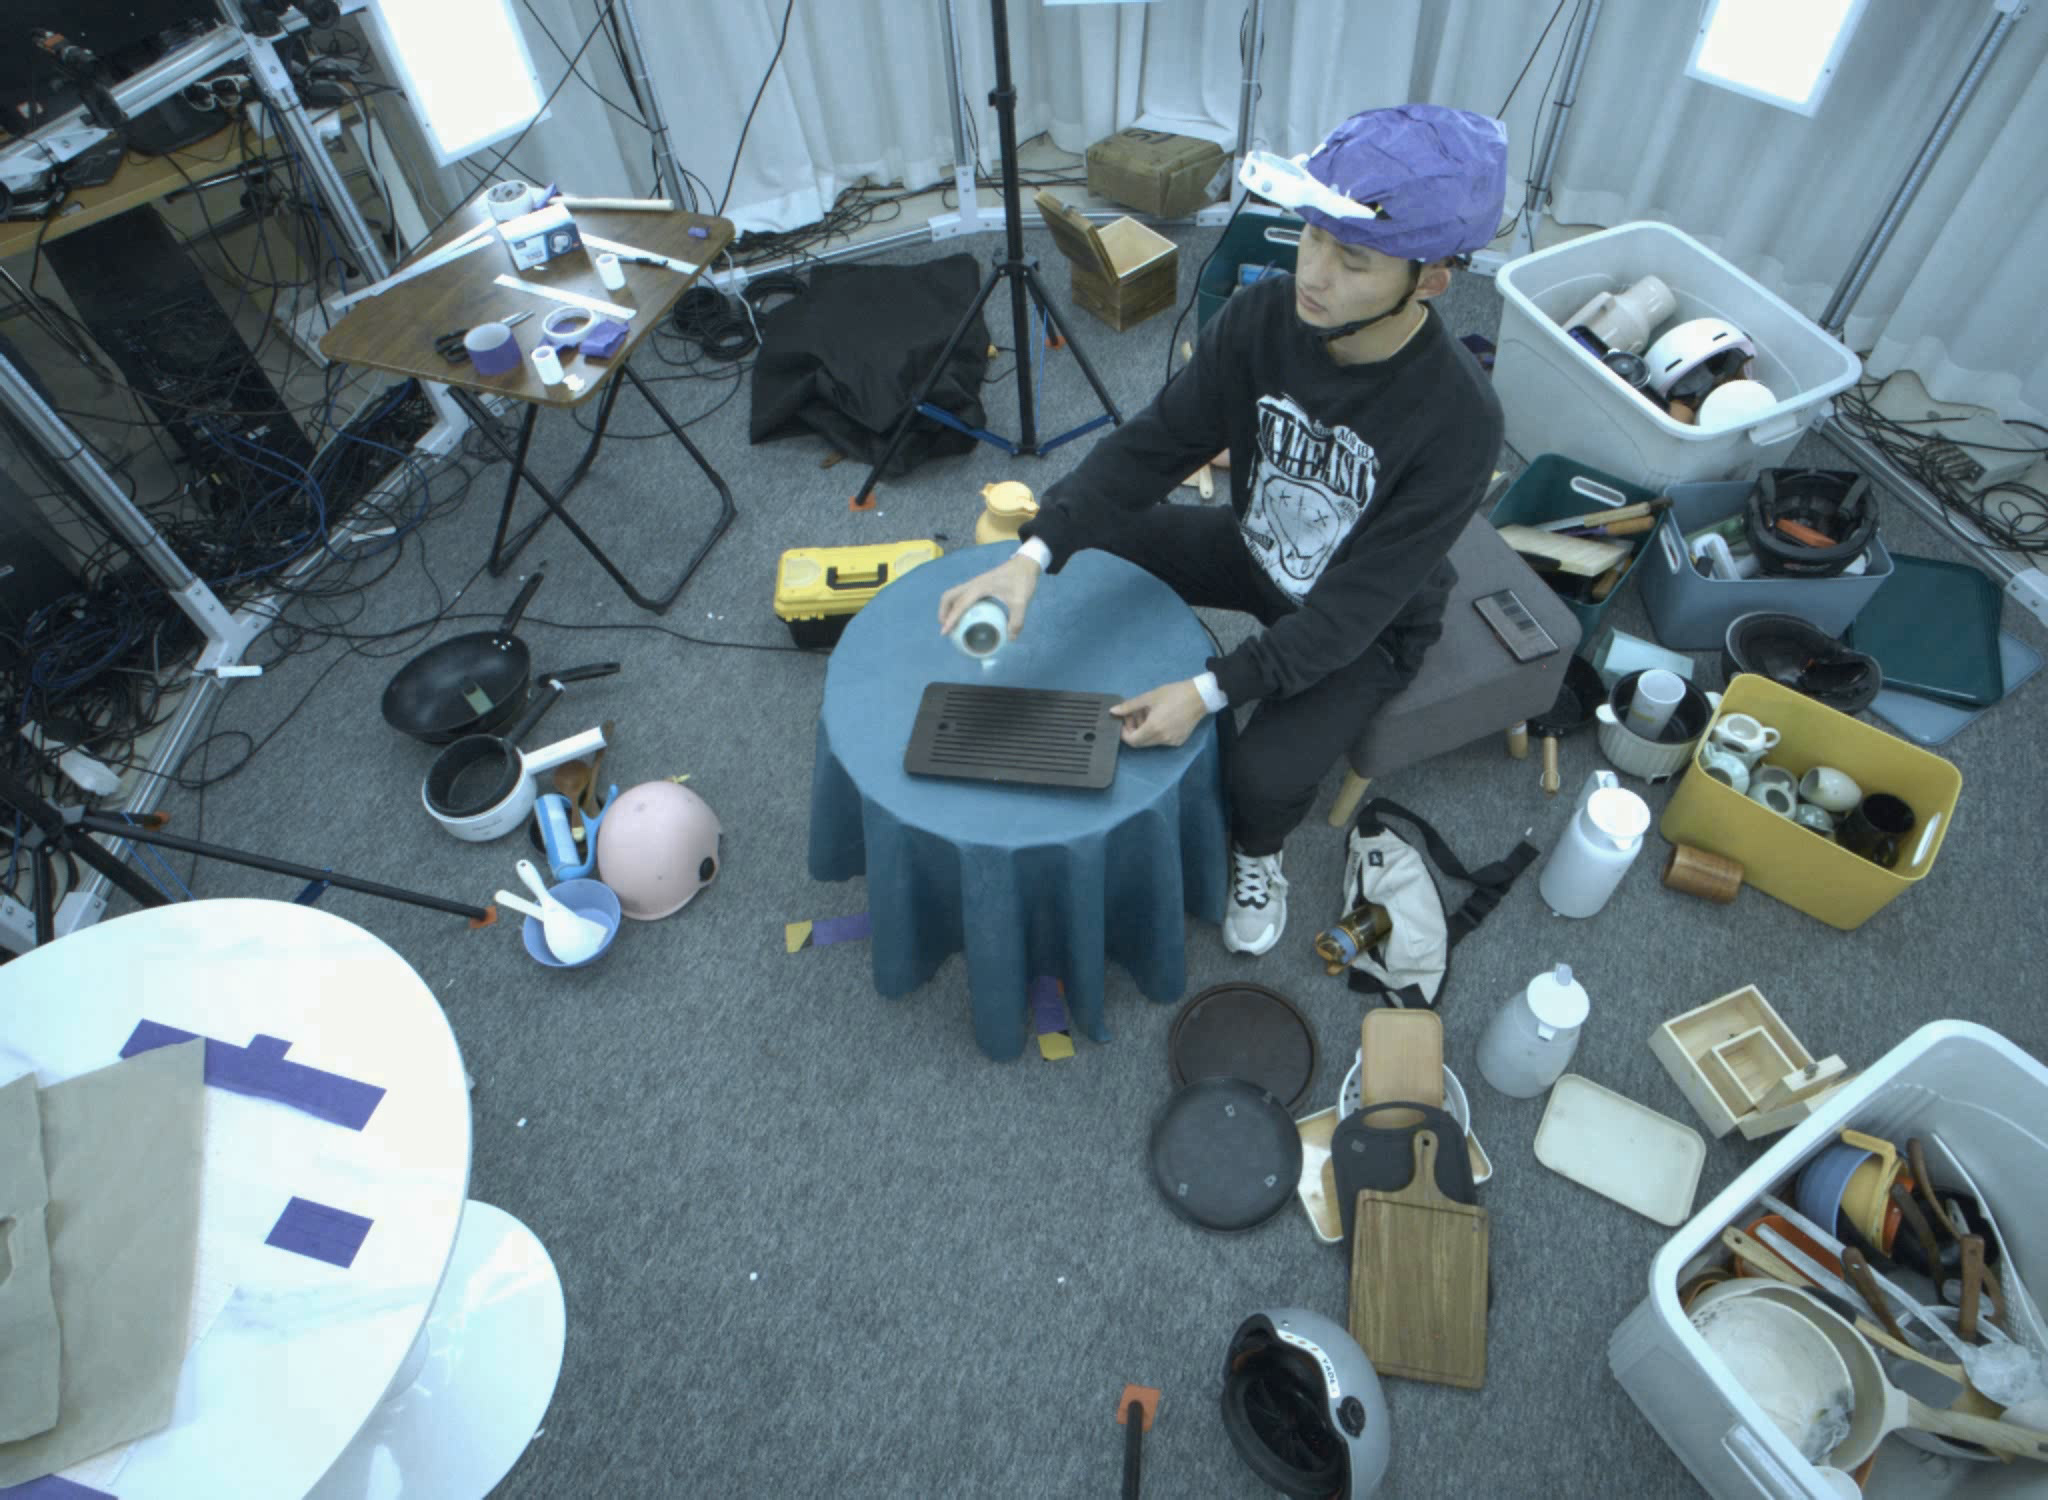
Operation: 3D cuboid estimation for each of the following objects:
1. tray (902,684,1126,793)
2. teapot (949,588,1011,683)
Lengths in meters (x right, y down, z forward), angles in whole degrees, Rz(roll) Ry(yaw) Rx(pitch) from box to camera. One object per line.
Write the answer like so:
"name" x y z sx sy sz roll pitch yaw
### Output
"tray" -0.013 -0.018 1.777 0.304 0.019 0.169 5 54 9
"teapot" -0.063 -0.171 1.742 0.088 0.146 0.073 -11 38 -2
